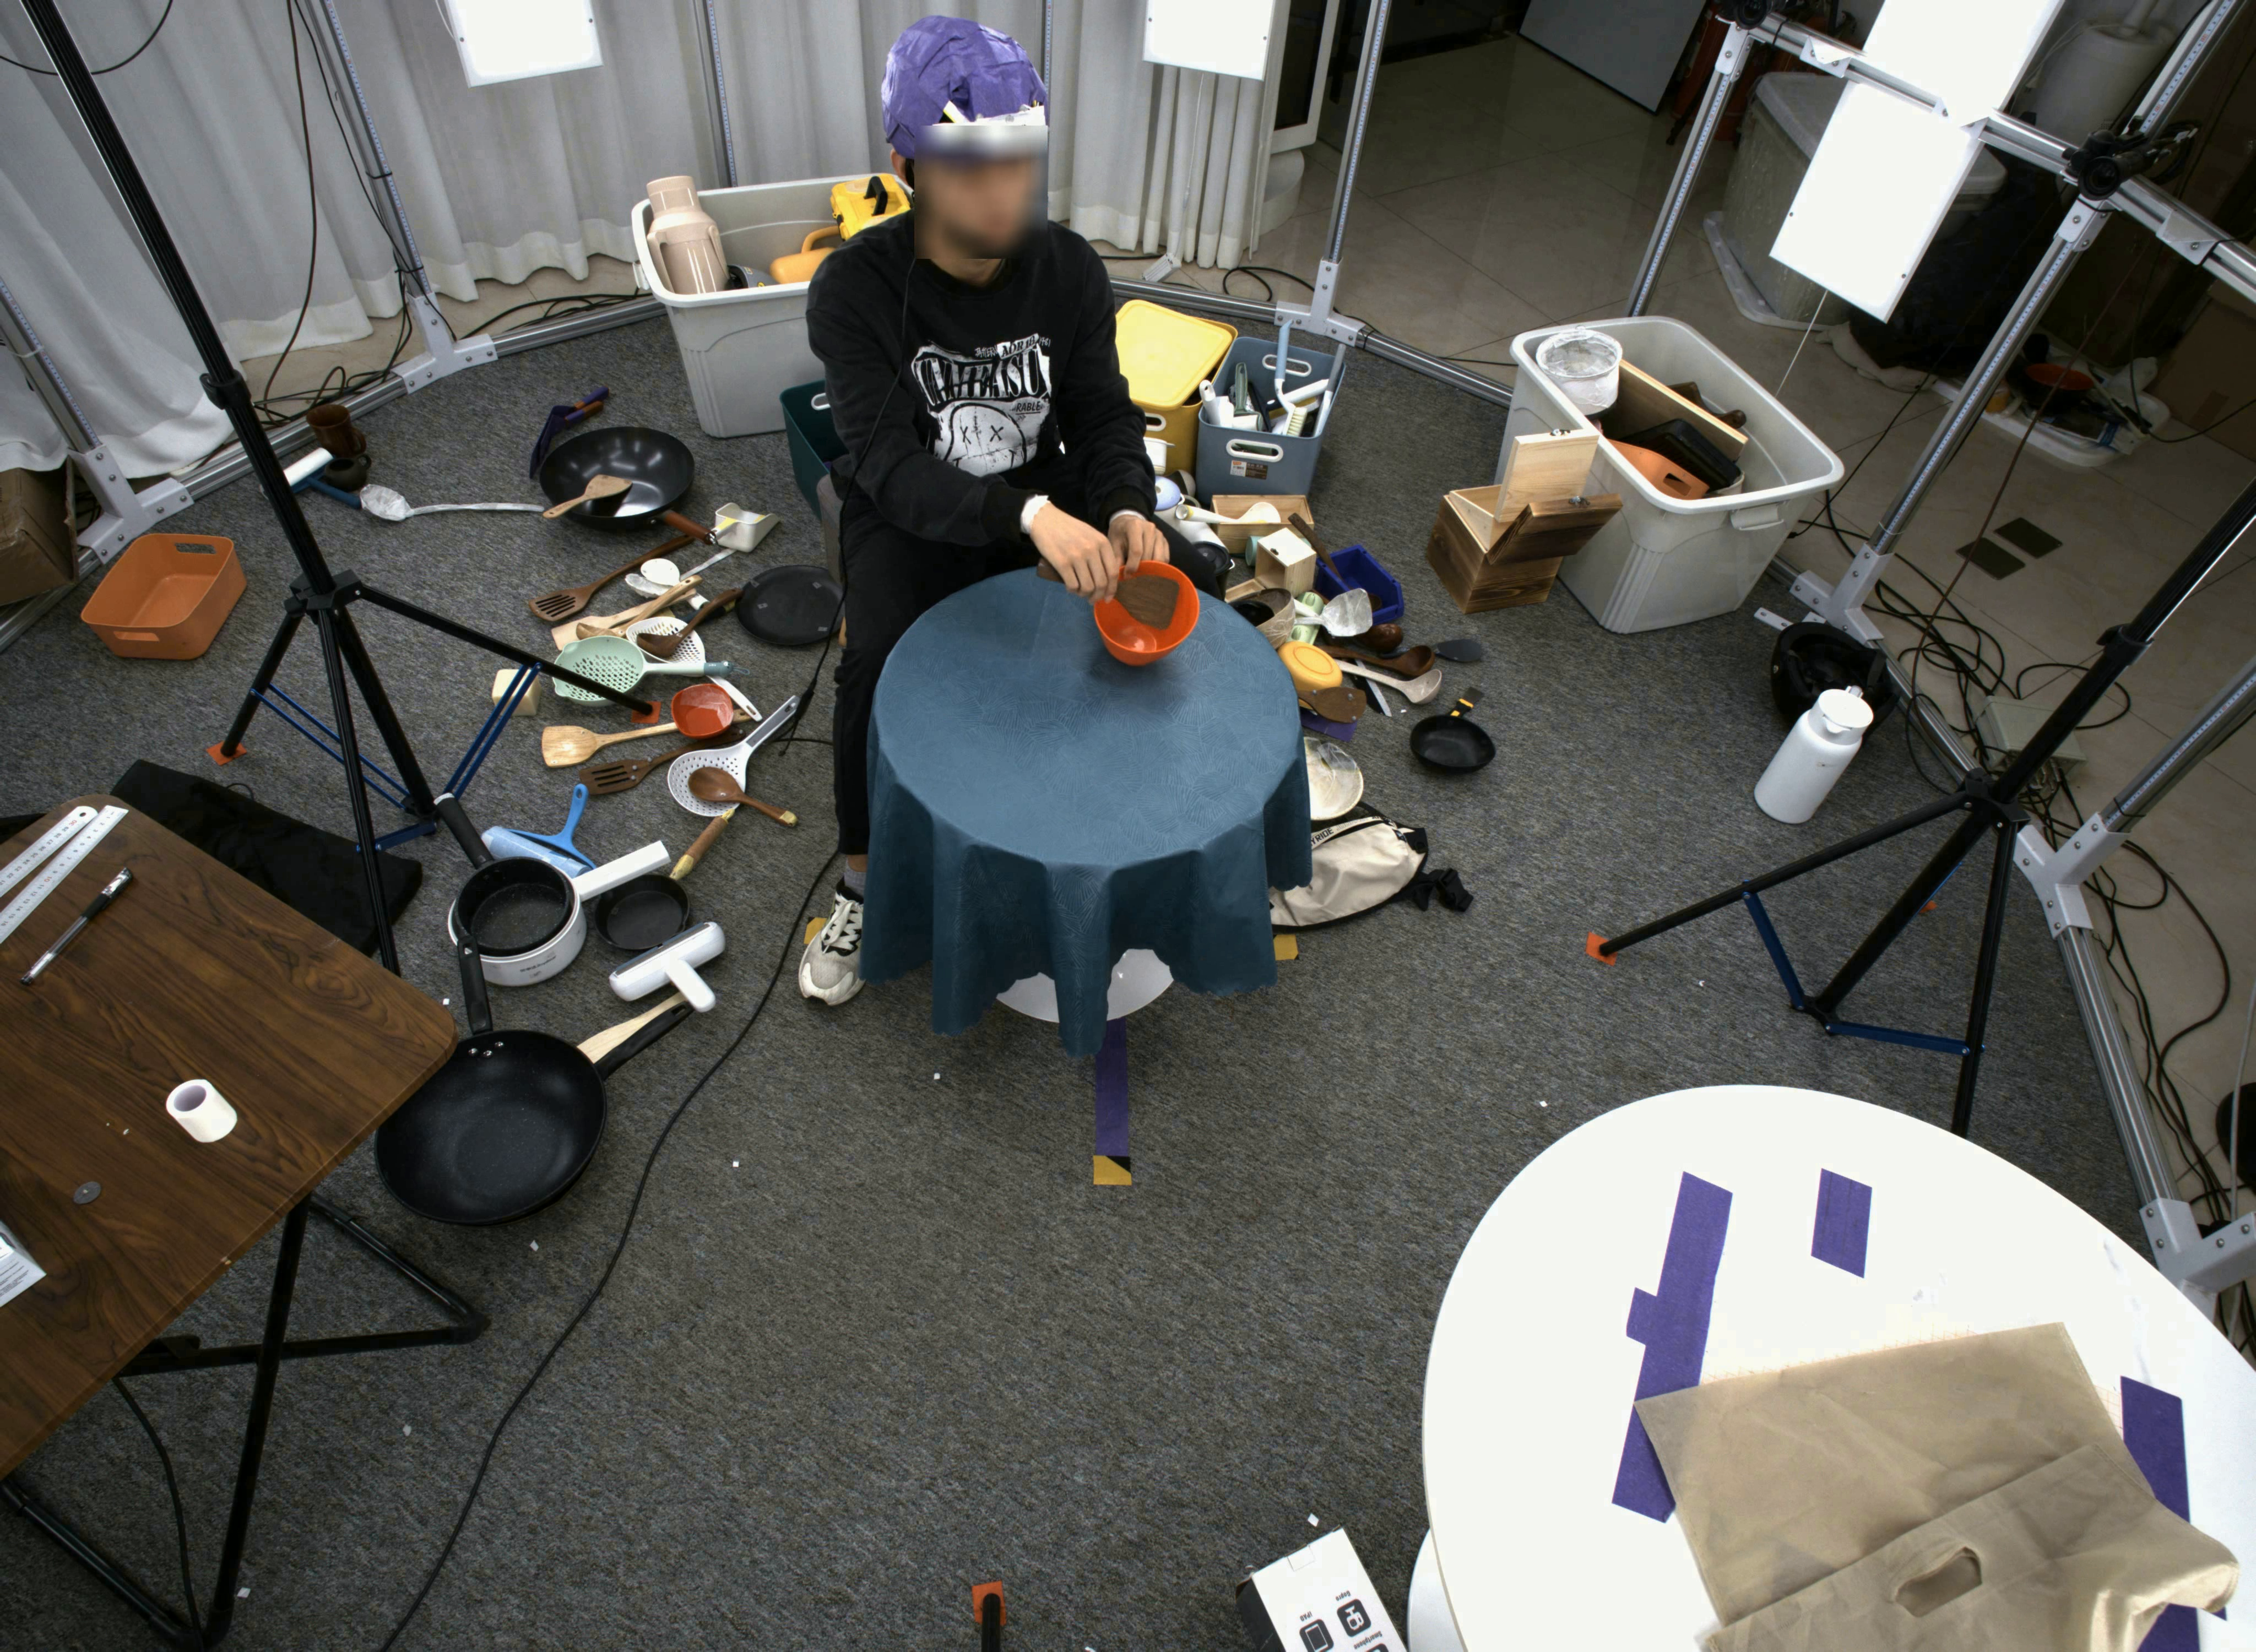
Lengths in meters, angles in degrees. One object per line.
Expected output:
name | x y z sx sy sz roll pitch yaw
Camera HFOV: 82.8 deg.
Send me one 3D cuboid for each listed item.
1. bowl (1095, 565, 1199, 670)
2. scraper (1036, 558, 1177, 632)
bowl | 0.024 -0.289 1.865 0.148 0.102 0.151 3 61 -5
scraper | -0.029 -0.332 1.795 0.209 0.076 0.011 13 2 -23
